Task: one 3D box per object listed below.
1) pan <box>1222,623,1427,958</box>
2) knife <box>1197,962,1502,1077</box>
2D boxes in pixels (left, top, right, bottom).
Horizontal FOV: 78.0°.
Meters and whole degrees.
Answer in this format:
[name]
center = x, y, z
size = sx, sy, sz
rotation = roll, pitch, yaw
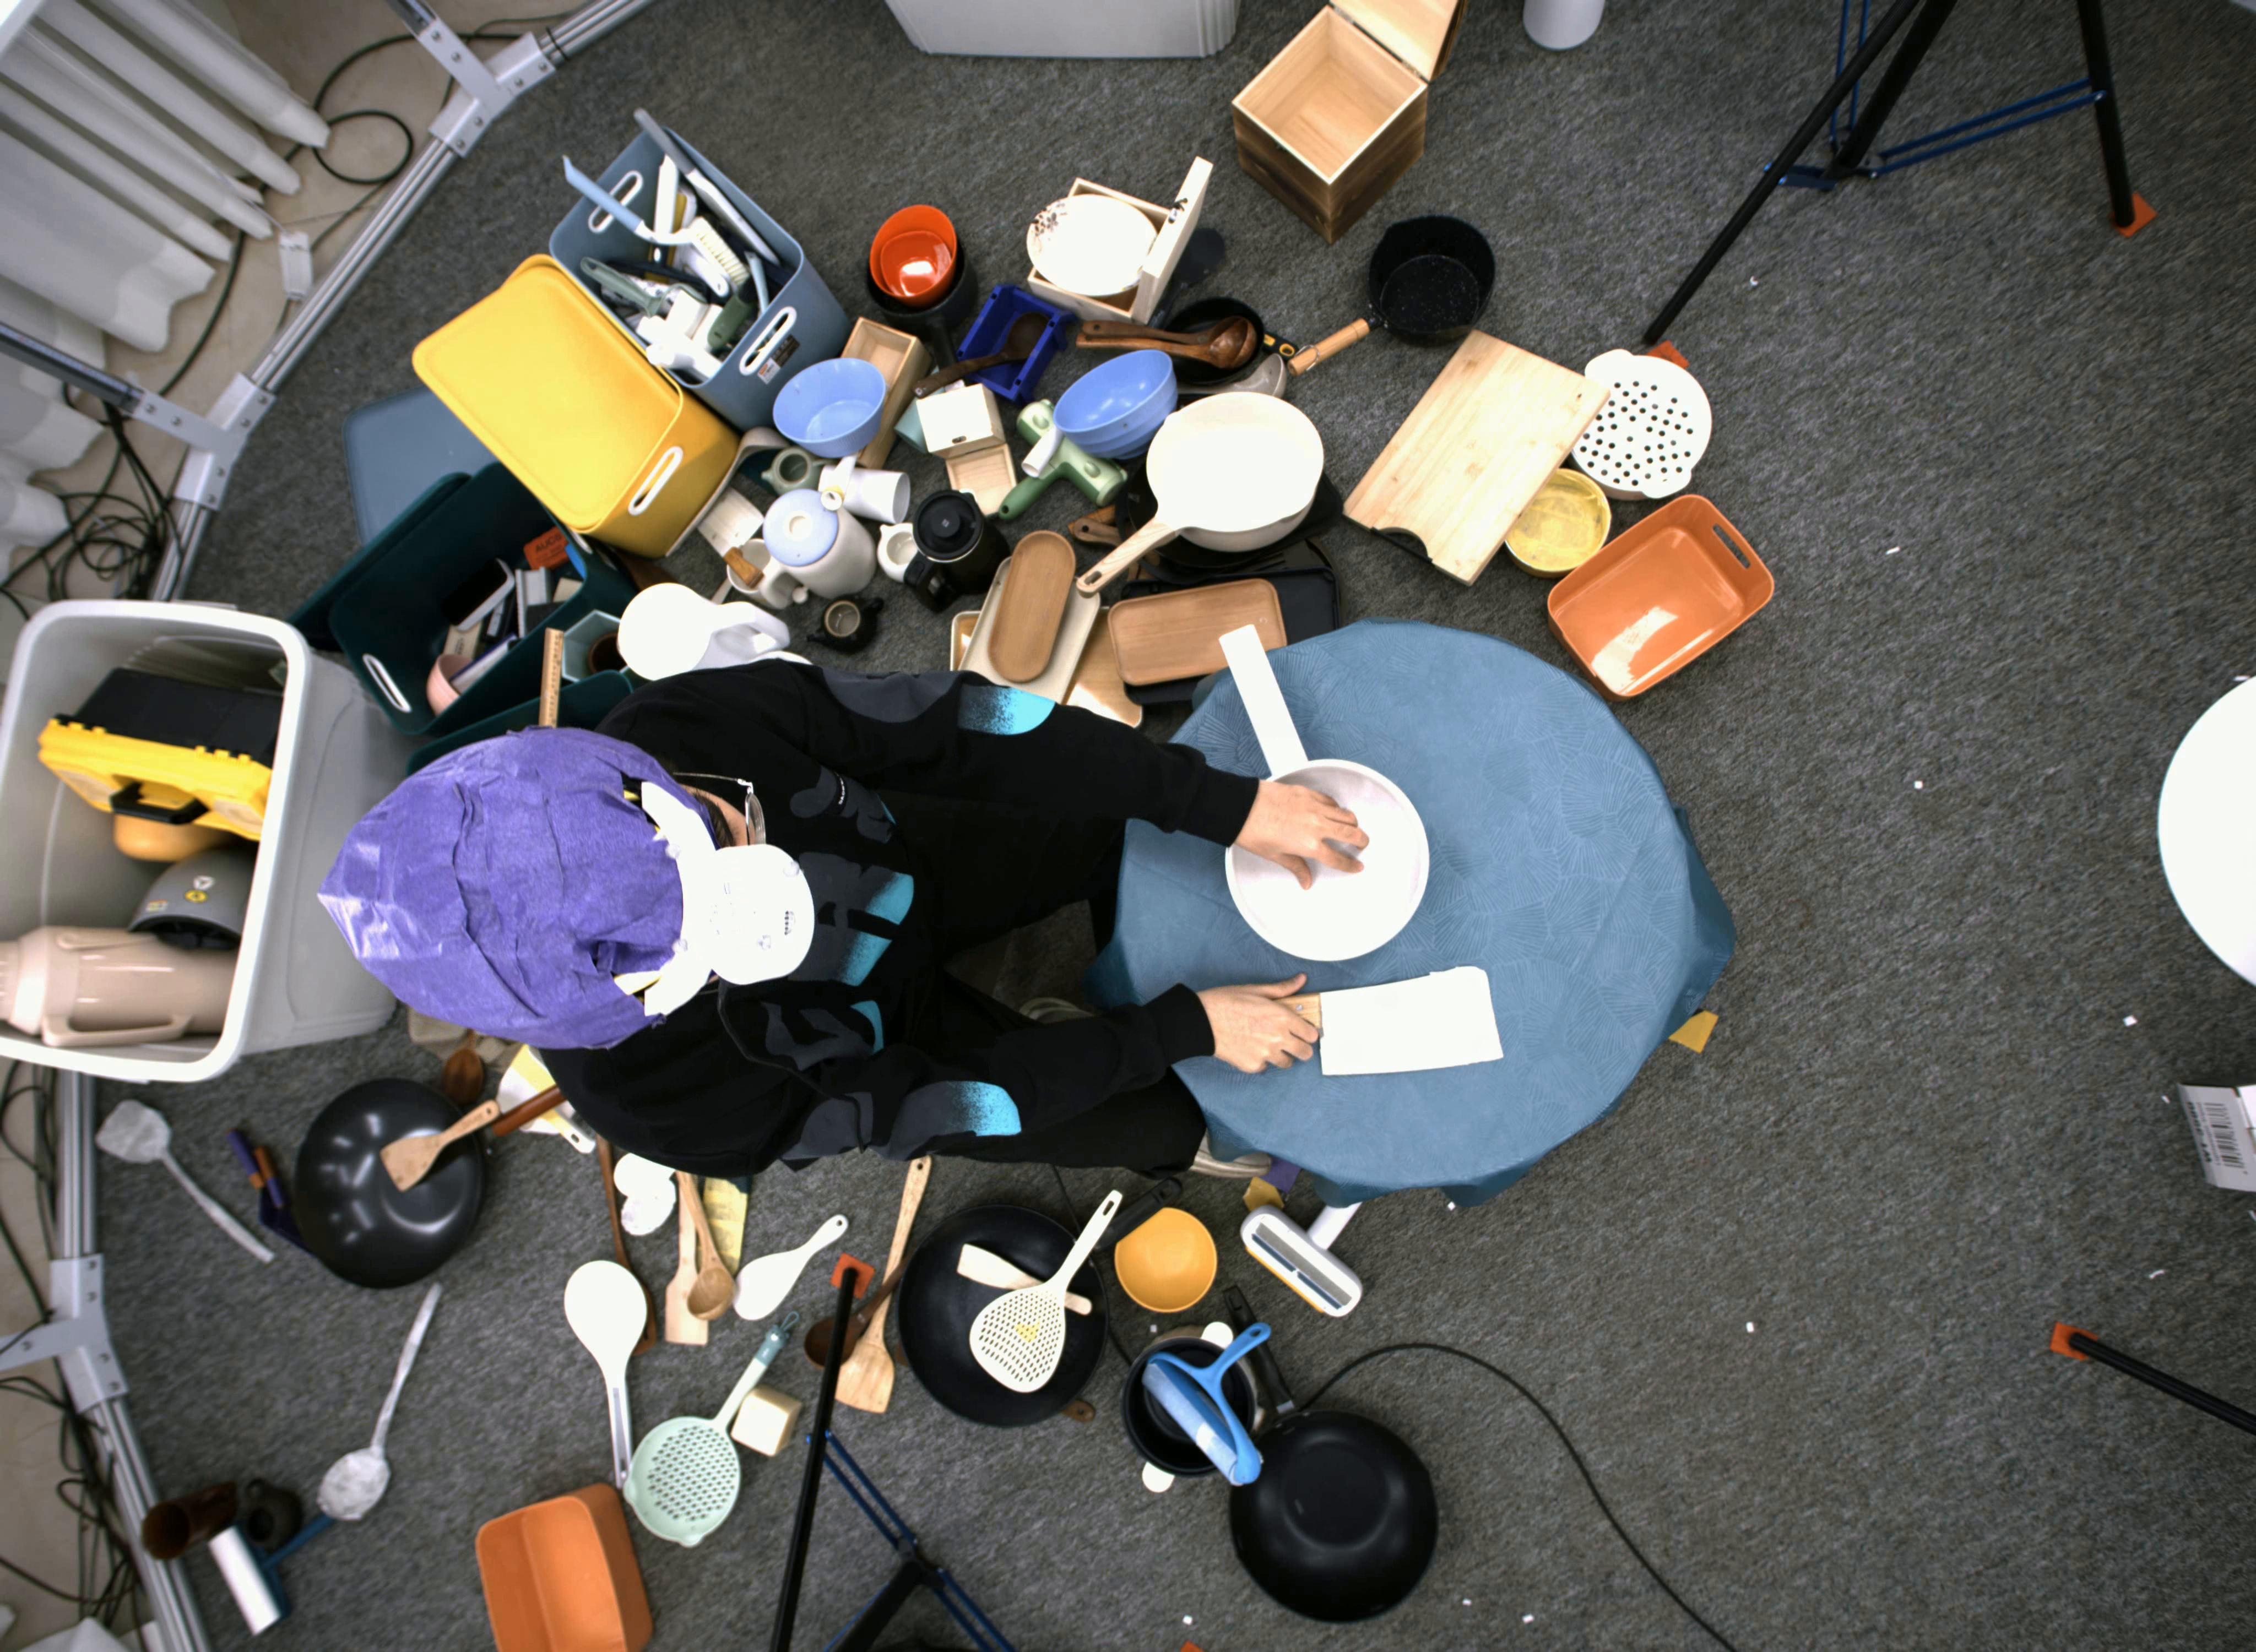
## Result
[pan]
center = 0.178, -0.035, 1.433
size = 0.202, 0.102, 0.352
rotation = -21, 82, 9
[knife]
center = 0.230, 0.204, 1.451
size = 0.316, 0.022, 0.113
rotation = -4, 86, 8
